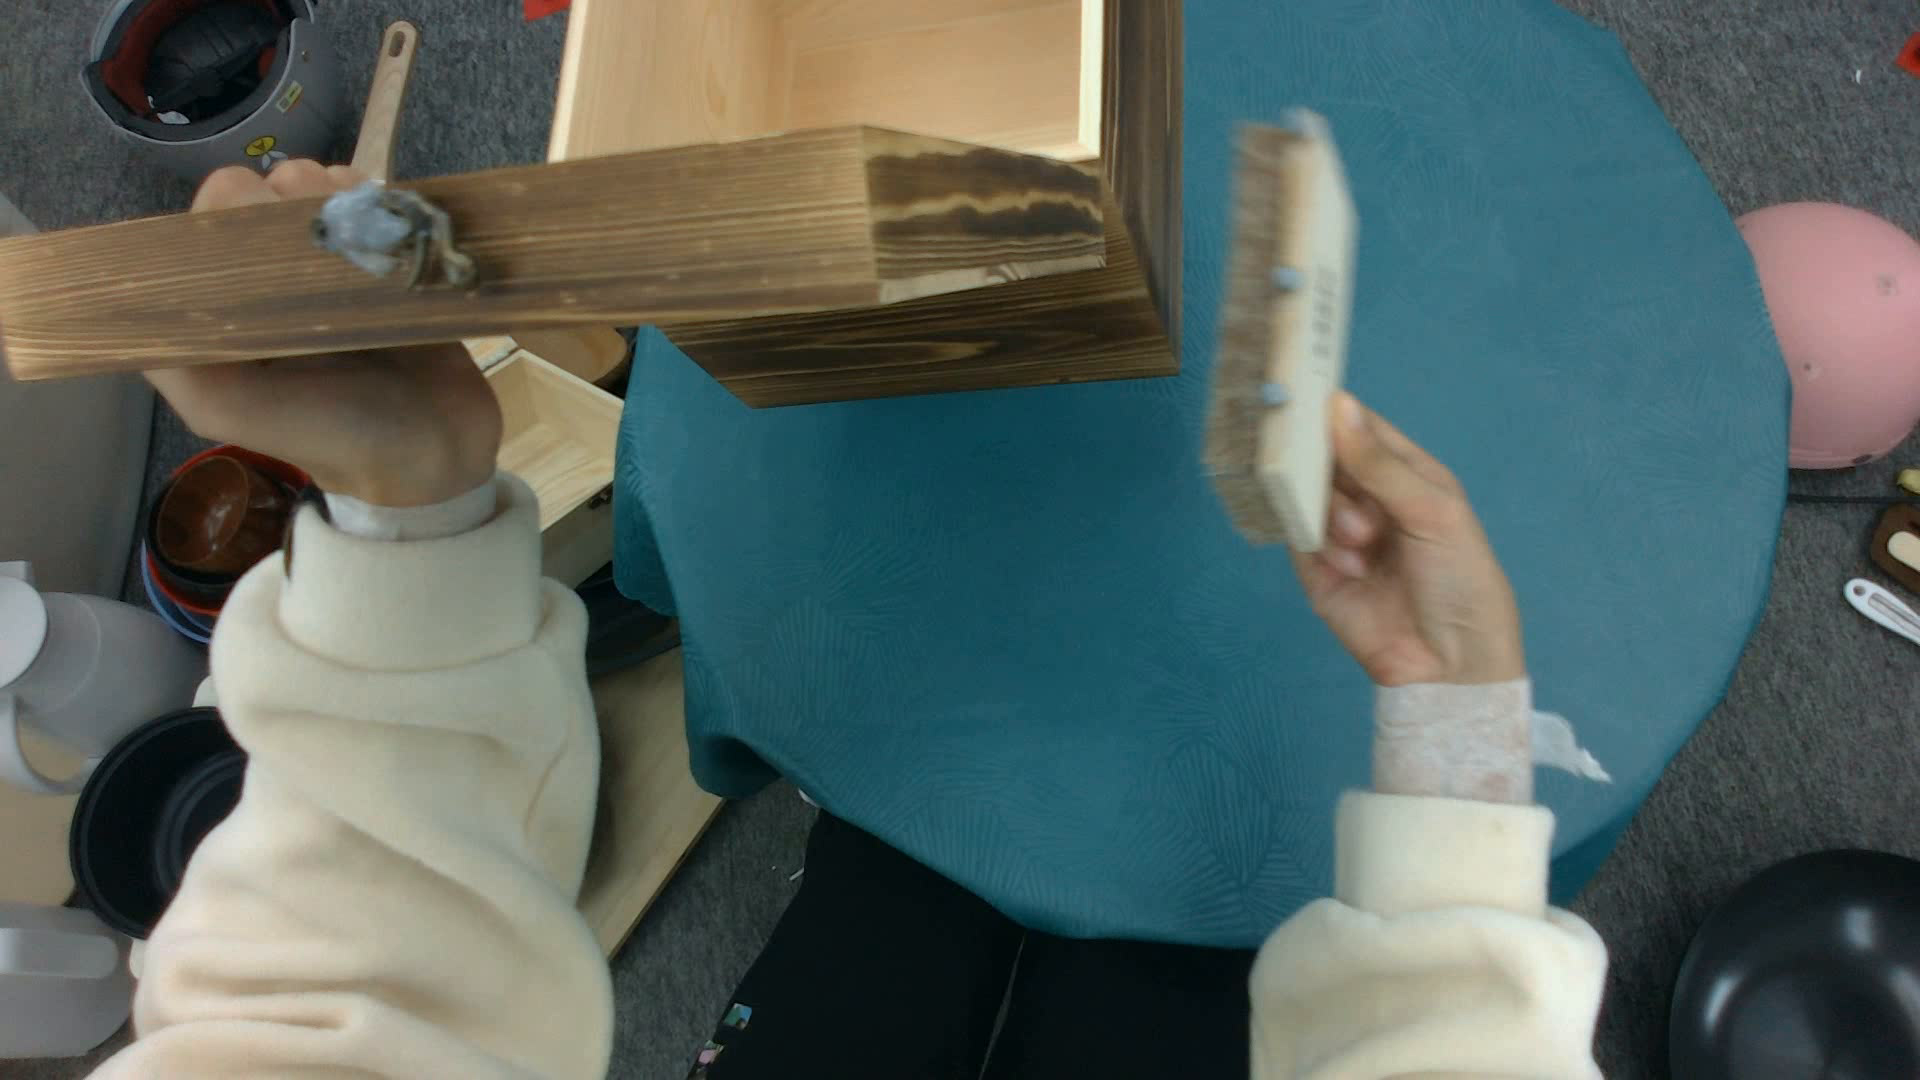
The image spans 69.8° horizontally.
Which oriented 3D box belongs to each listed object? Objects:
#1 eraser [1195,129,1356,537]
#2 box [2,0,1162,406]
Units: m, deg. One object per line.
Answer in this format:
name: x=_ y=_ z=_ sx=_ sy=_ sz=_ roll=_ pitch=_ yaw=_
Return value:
eraser: x=0.115 y=-0.075 z=0.490 sx=0.029 sy=0.057 sz=0.140 roll=3 pitch=63 yaw=27
box: x=-0.056 y=-0.168 z=0.457 sx=0.208 sy=0.375 sz=0.323 roll=-3 pitch=72 yaw=16
